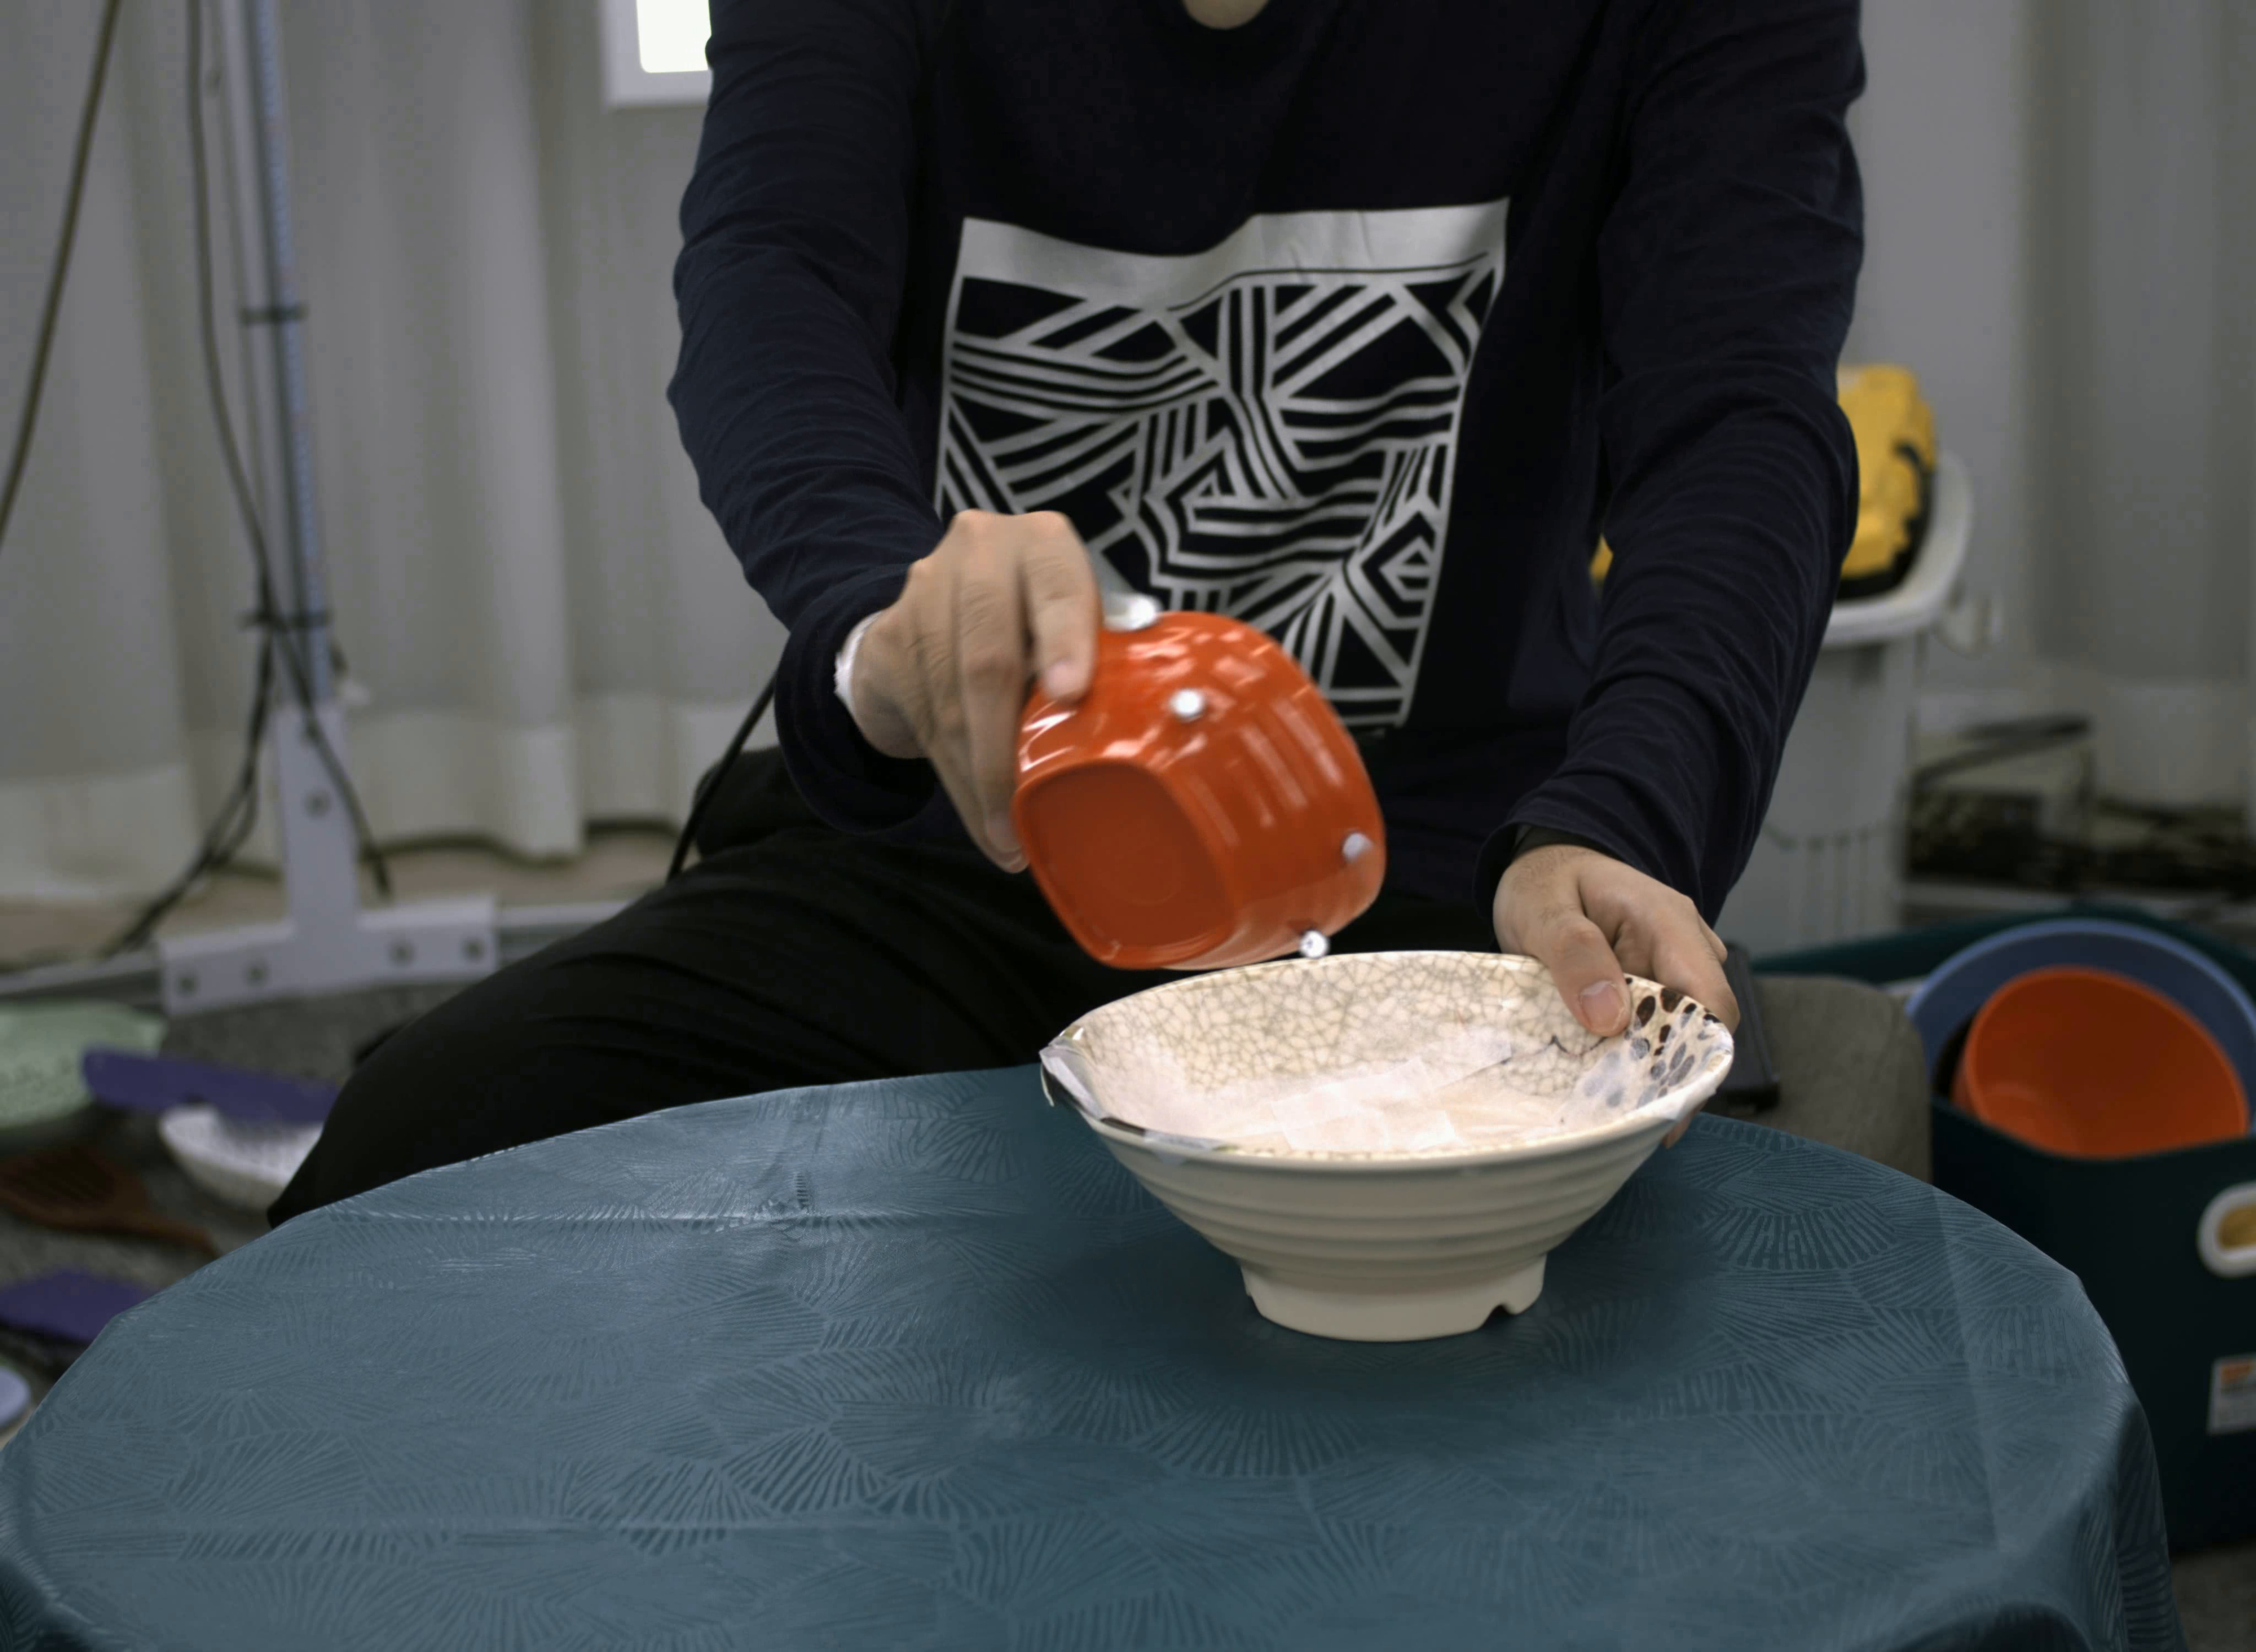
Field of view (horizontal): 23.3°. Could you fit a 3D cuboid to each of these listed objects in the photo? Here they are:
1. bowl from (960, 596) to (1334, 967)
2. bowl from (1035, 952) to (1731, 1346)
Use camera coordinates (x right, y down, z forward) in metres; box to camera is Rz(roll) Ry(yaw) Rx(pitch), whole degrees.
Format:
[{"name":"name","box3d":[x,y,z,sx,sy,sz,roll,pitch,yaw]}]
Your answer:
[{"name":"bowl","box3d":[-0.003,-0.004,1.556,0.119,0.118,0.051,8,30,35]},{"name":"bowl","box3d":[0.075,0.102,1.605,0.203,0.077,0.205,-2,14,0]}]
